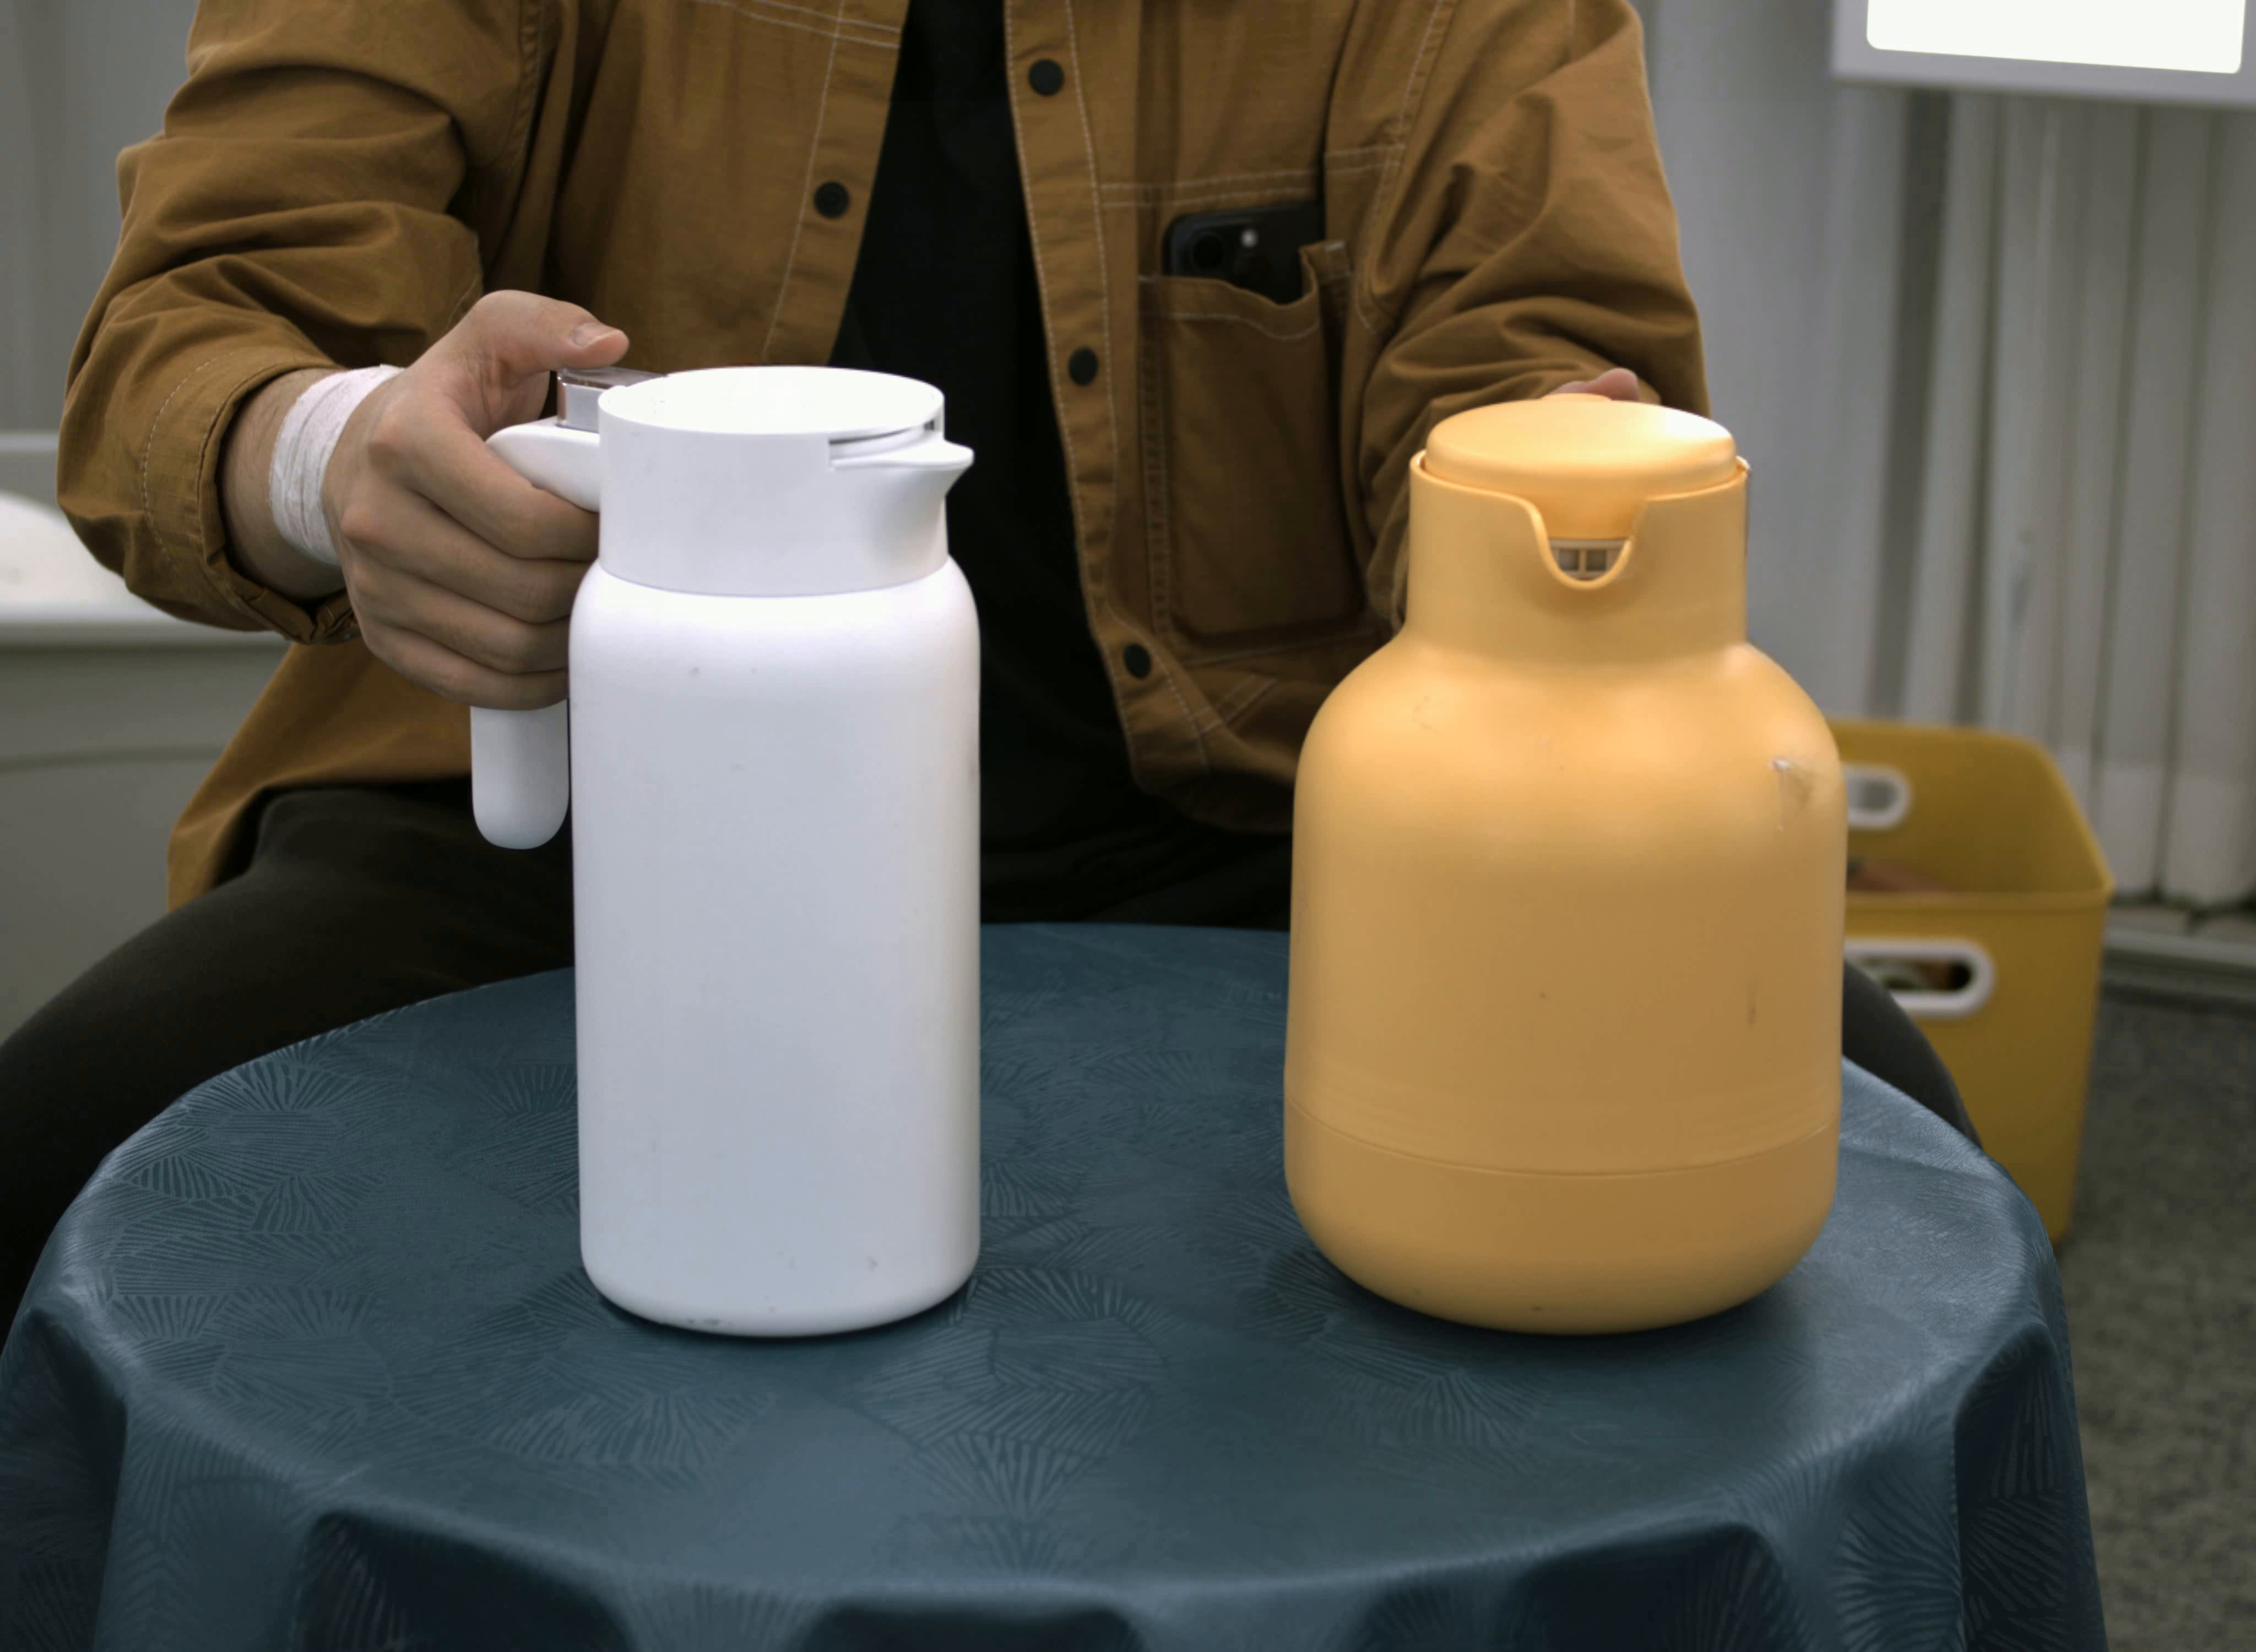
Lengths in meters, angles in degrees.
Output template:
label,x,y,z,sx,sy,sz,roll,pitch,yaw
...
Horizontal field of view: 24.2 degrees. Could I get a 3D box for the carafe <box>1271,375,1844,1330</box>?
label,x,y,z,sx,sy,sz,roll,pitch,yaw
carafe,0.129,-0.001,1.539,0.163,0.262,0.201,4,18,4

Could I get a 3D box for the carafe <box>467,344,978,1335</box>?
label,x,y,z,sx,sy,sz,roll,pitch,yaw
carafe,-0.117,0.001,1.516,0.170,0.271,0.124,12,22,32
